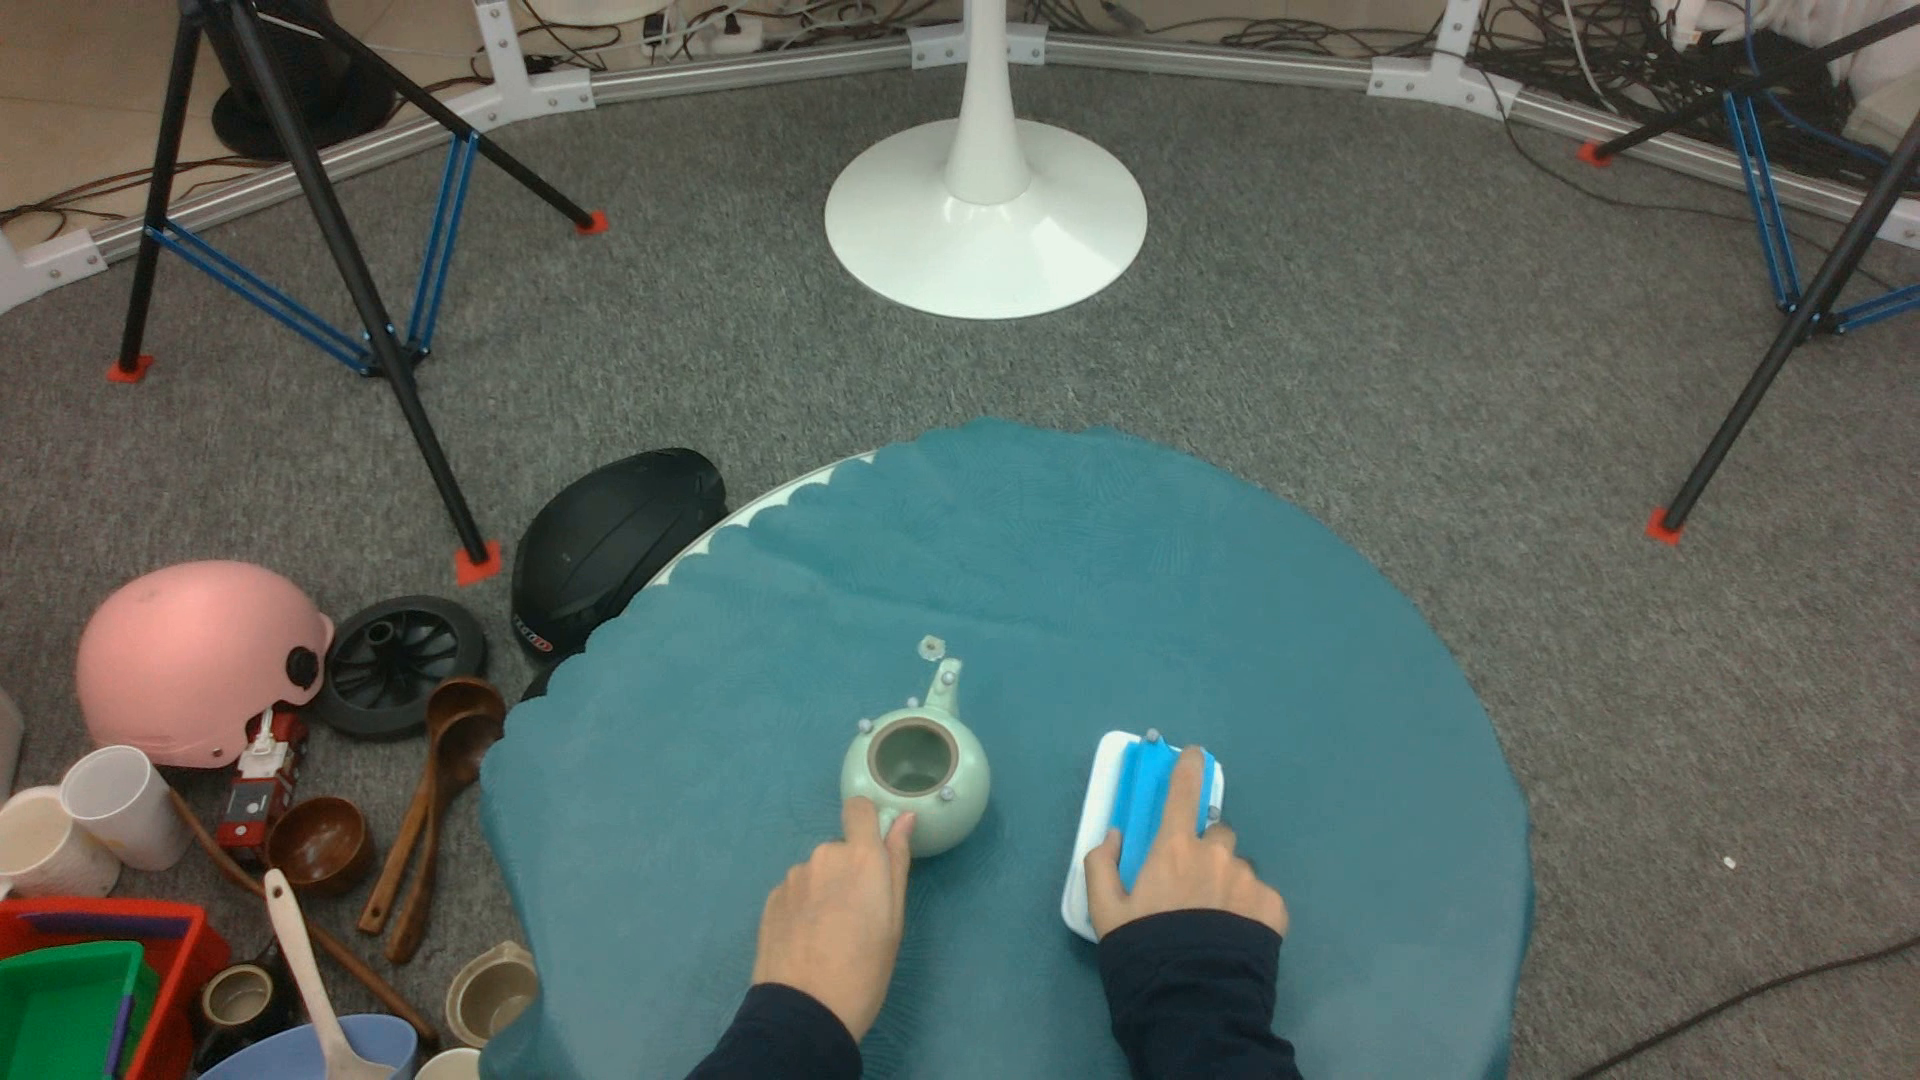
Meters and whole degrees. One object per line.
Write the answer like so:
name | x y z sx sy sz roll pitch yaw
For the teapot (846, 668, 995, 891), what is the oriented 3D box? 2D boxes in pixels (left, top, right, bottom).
teapot | -0.023 0.148 0.815 0.088 0.074 0.144 15 48 16

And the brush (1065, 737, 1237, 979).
brush | 0.116 0.174 0.791 0.084 0.055 0.145 20 47 3
